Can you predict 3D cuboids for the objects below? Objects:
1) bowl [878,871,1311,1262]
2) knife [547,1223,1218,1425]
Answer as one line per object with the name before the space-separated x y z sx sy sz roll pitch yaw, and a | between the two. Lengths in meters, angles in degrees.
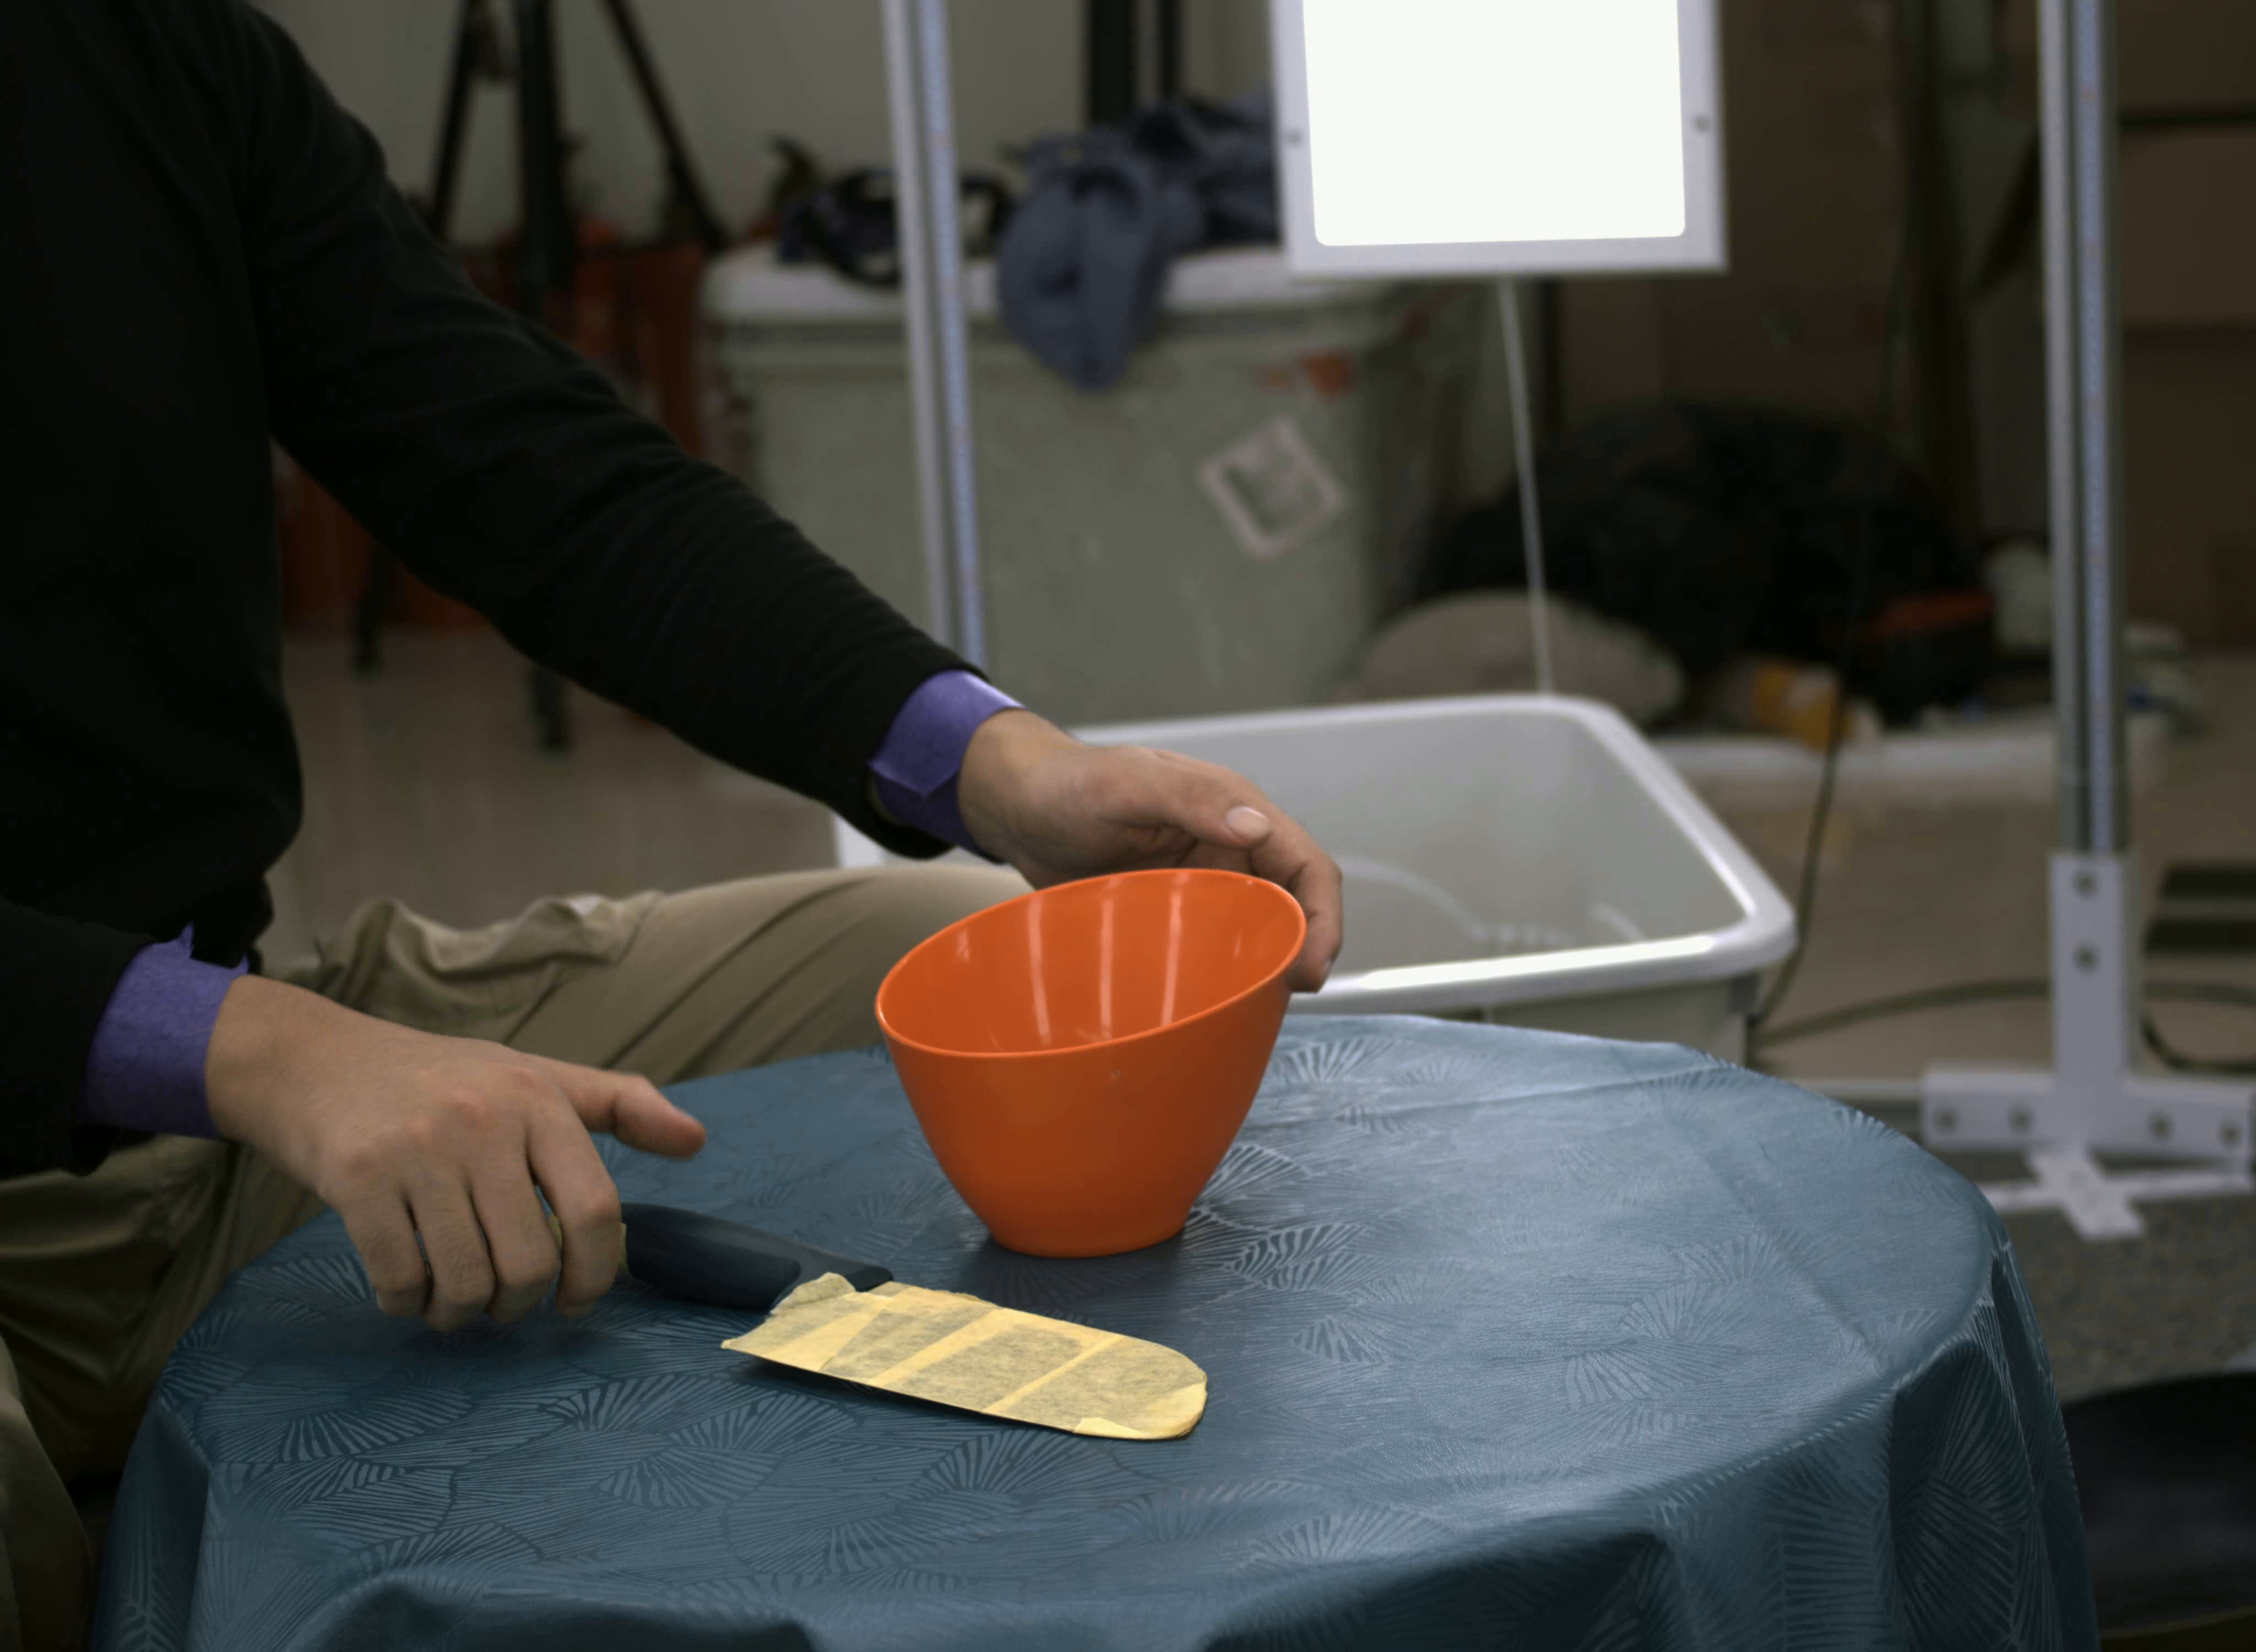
bowl | -0.008 0.085 1.859 0.147 0.105 0.148 -5 15 0
knife | -0.087 0.161 1.763 0.295 0.027 0.079 8 18 40
